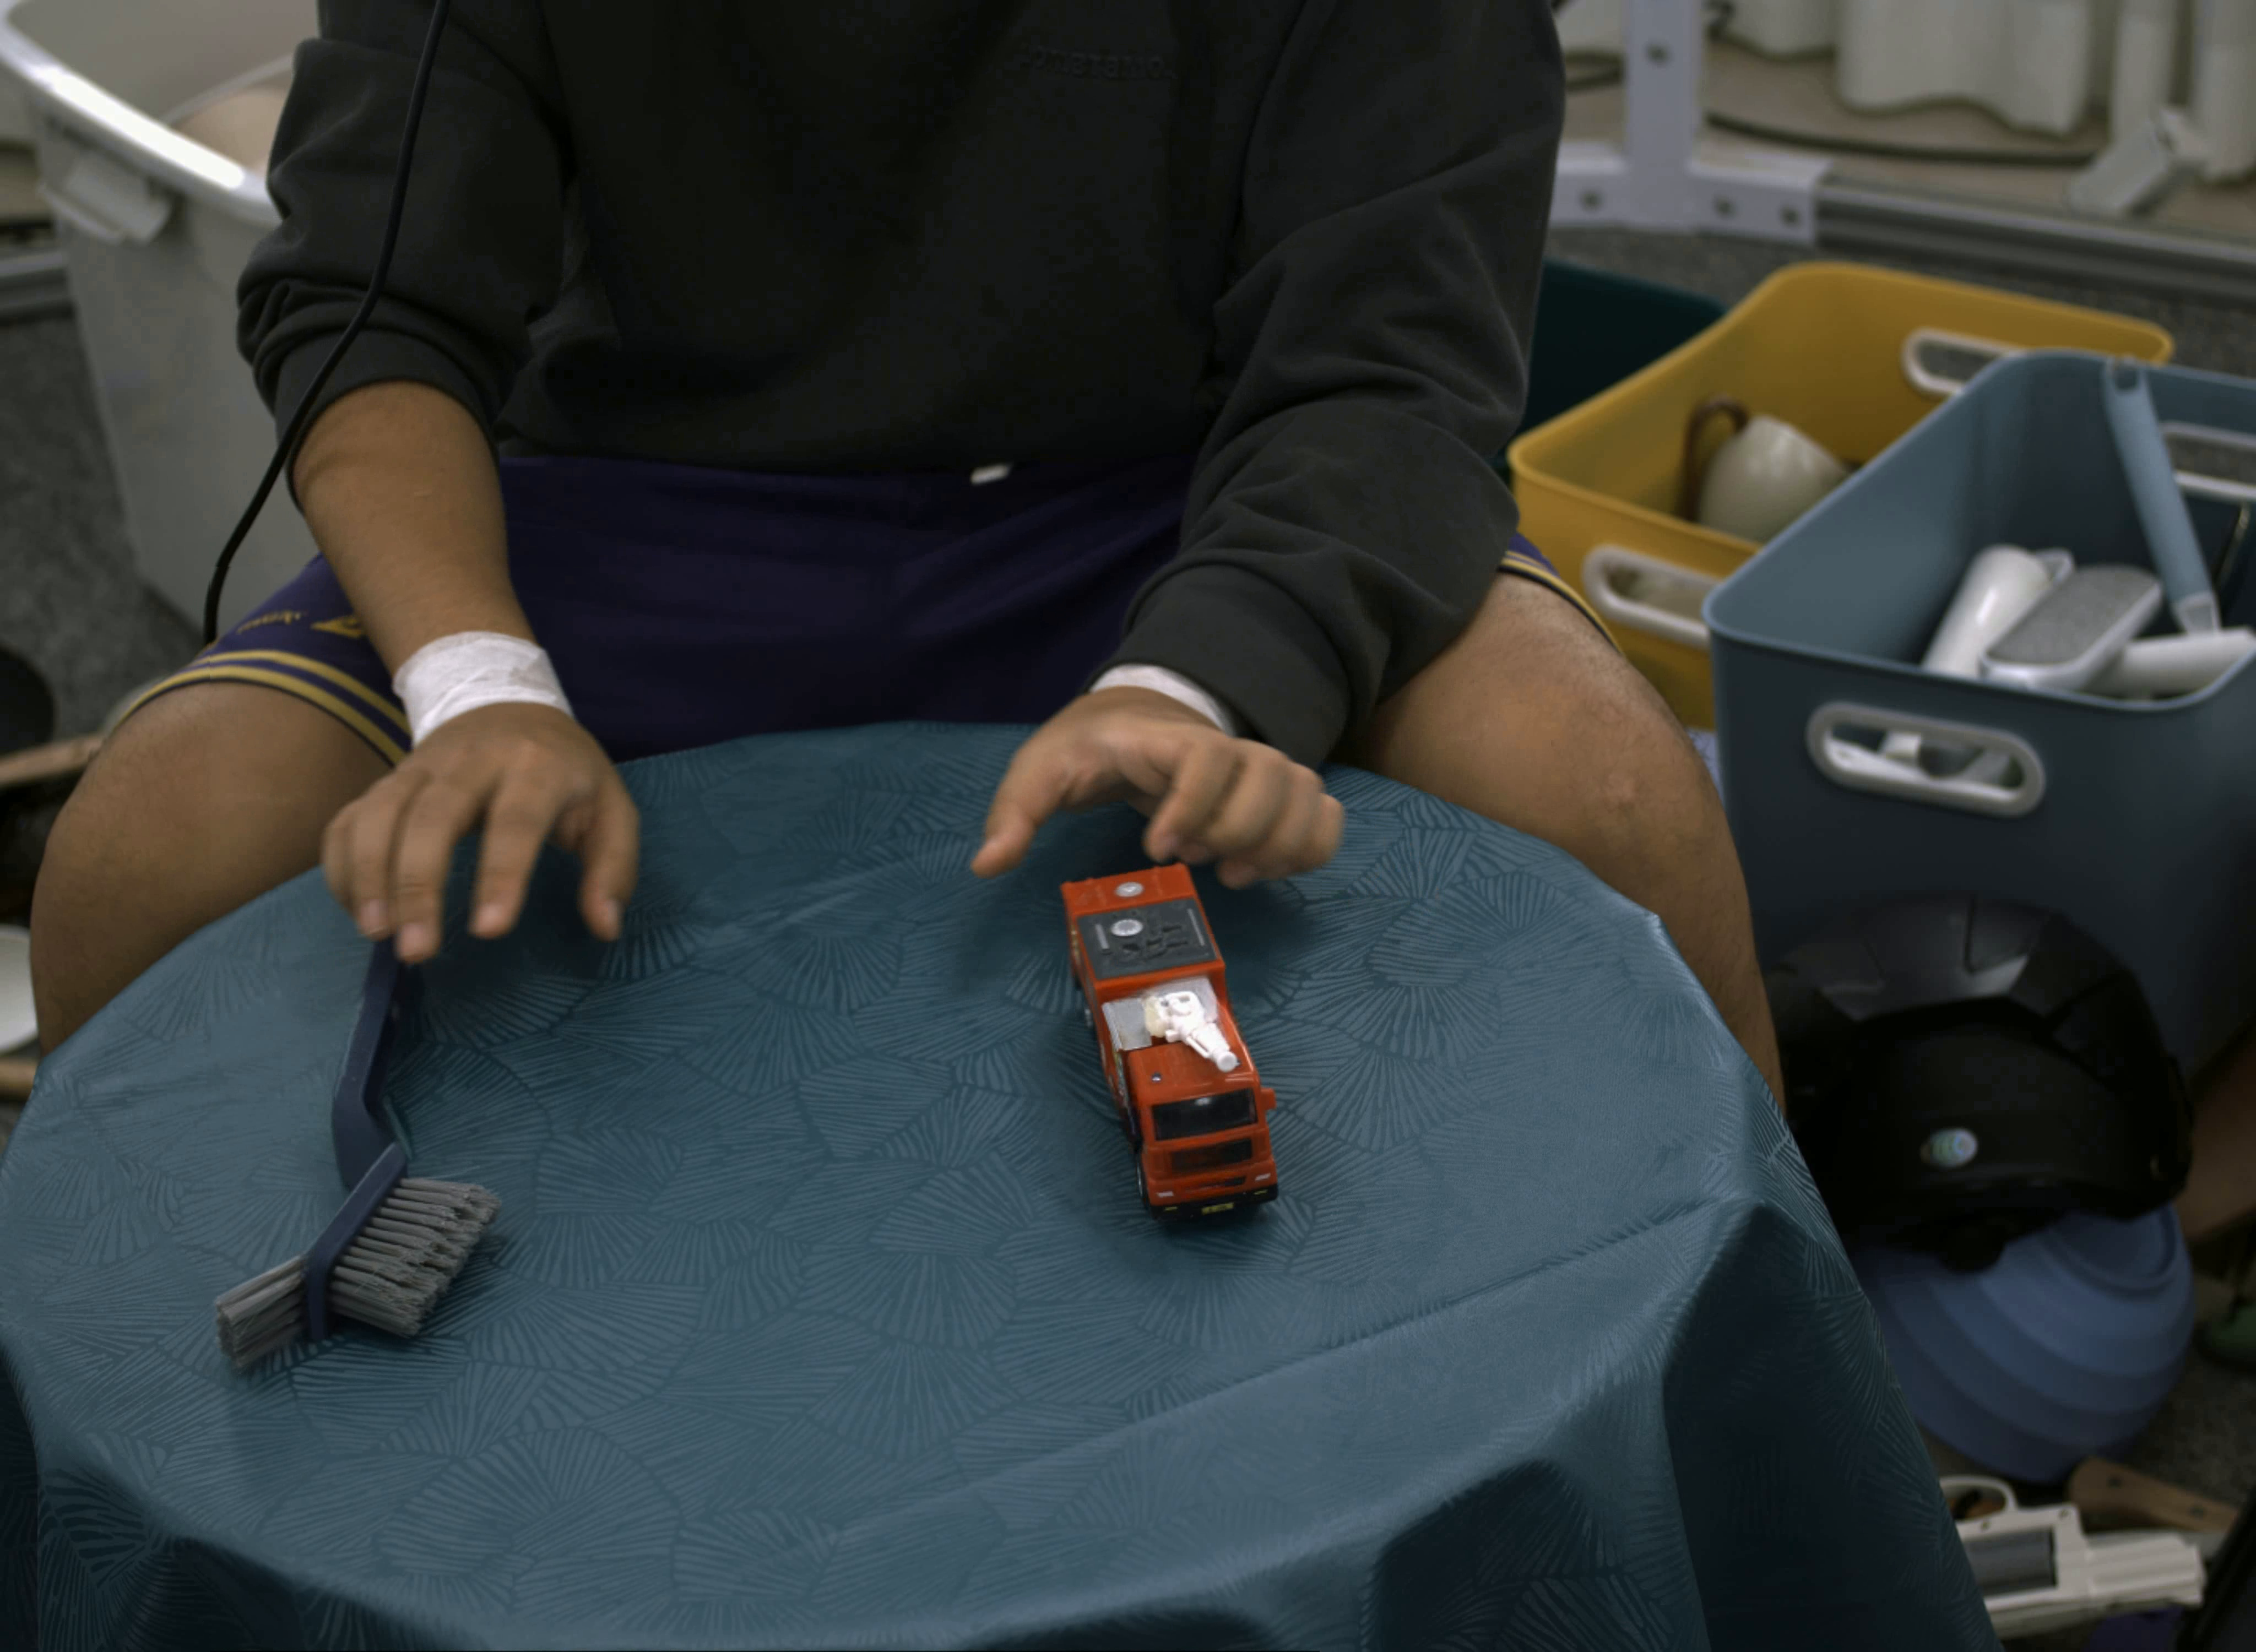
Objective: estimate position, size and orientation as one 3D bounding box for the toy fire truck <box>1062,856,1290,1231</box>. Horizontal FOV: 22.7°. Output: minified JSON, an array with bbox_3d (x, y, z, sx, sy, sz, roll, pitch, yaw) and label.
[{"bbox_3d":[0.015,0.072,1.892,0.054,0.069,0.170,-9,27,-6],"label":"toy fire truck"}]

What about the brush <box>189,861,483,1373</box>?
[{"bbox_3d":[-0.270,0.095,1.906,0.095,0.033,0.277,-5,29,-6],"label":"brush"}]
